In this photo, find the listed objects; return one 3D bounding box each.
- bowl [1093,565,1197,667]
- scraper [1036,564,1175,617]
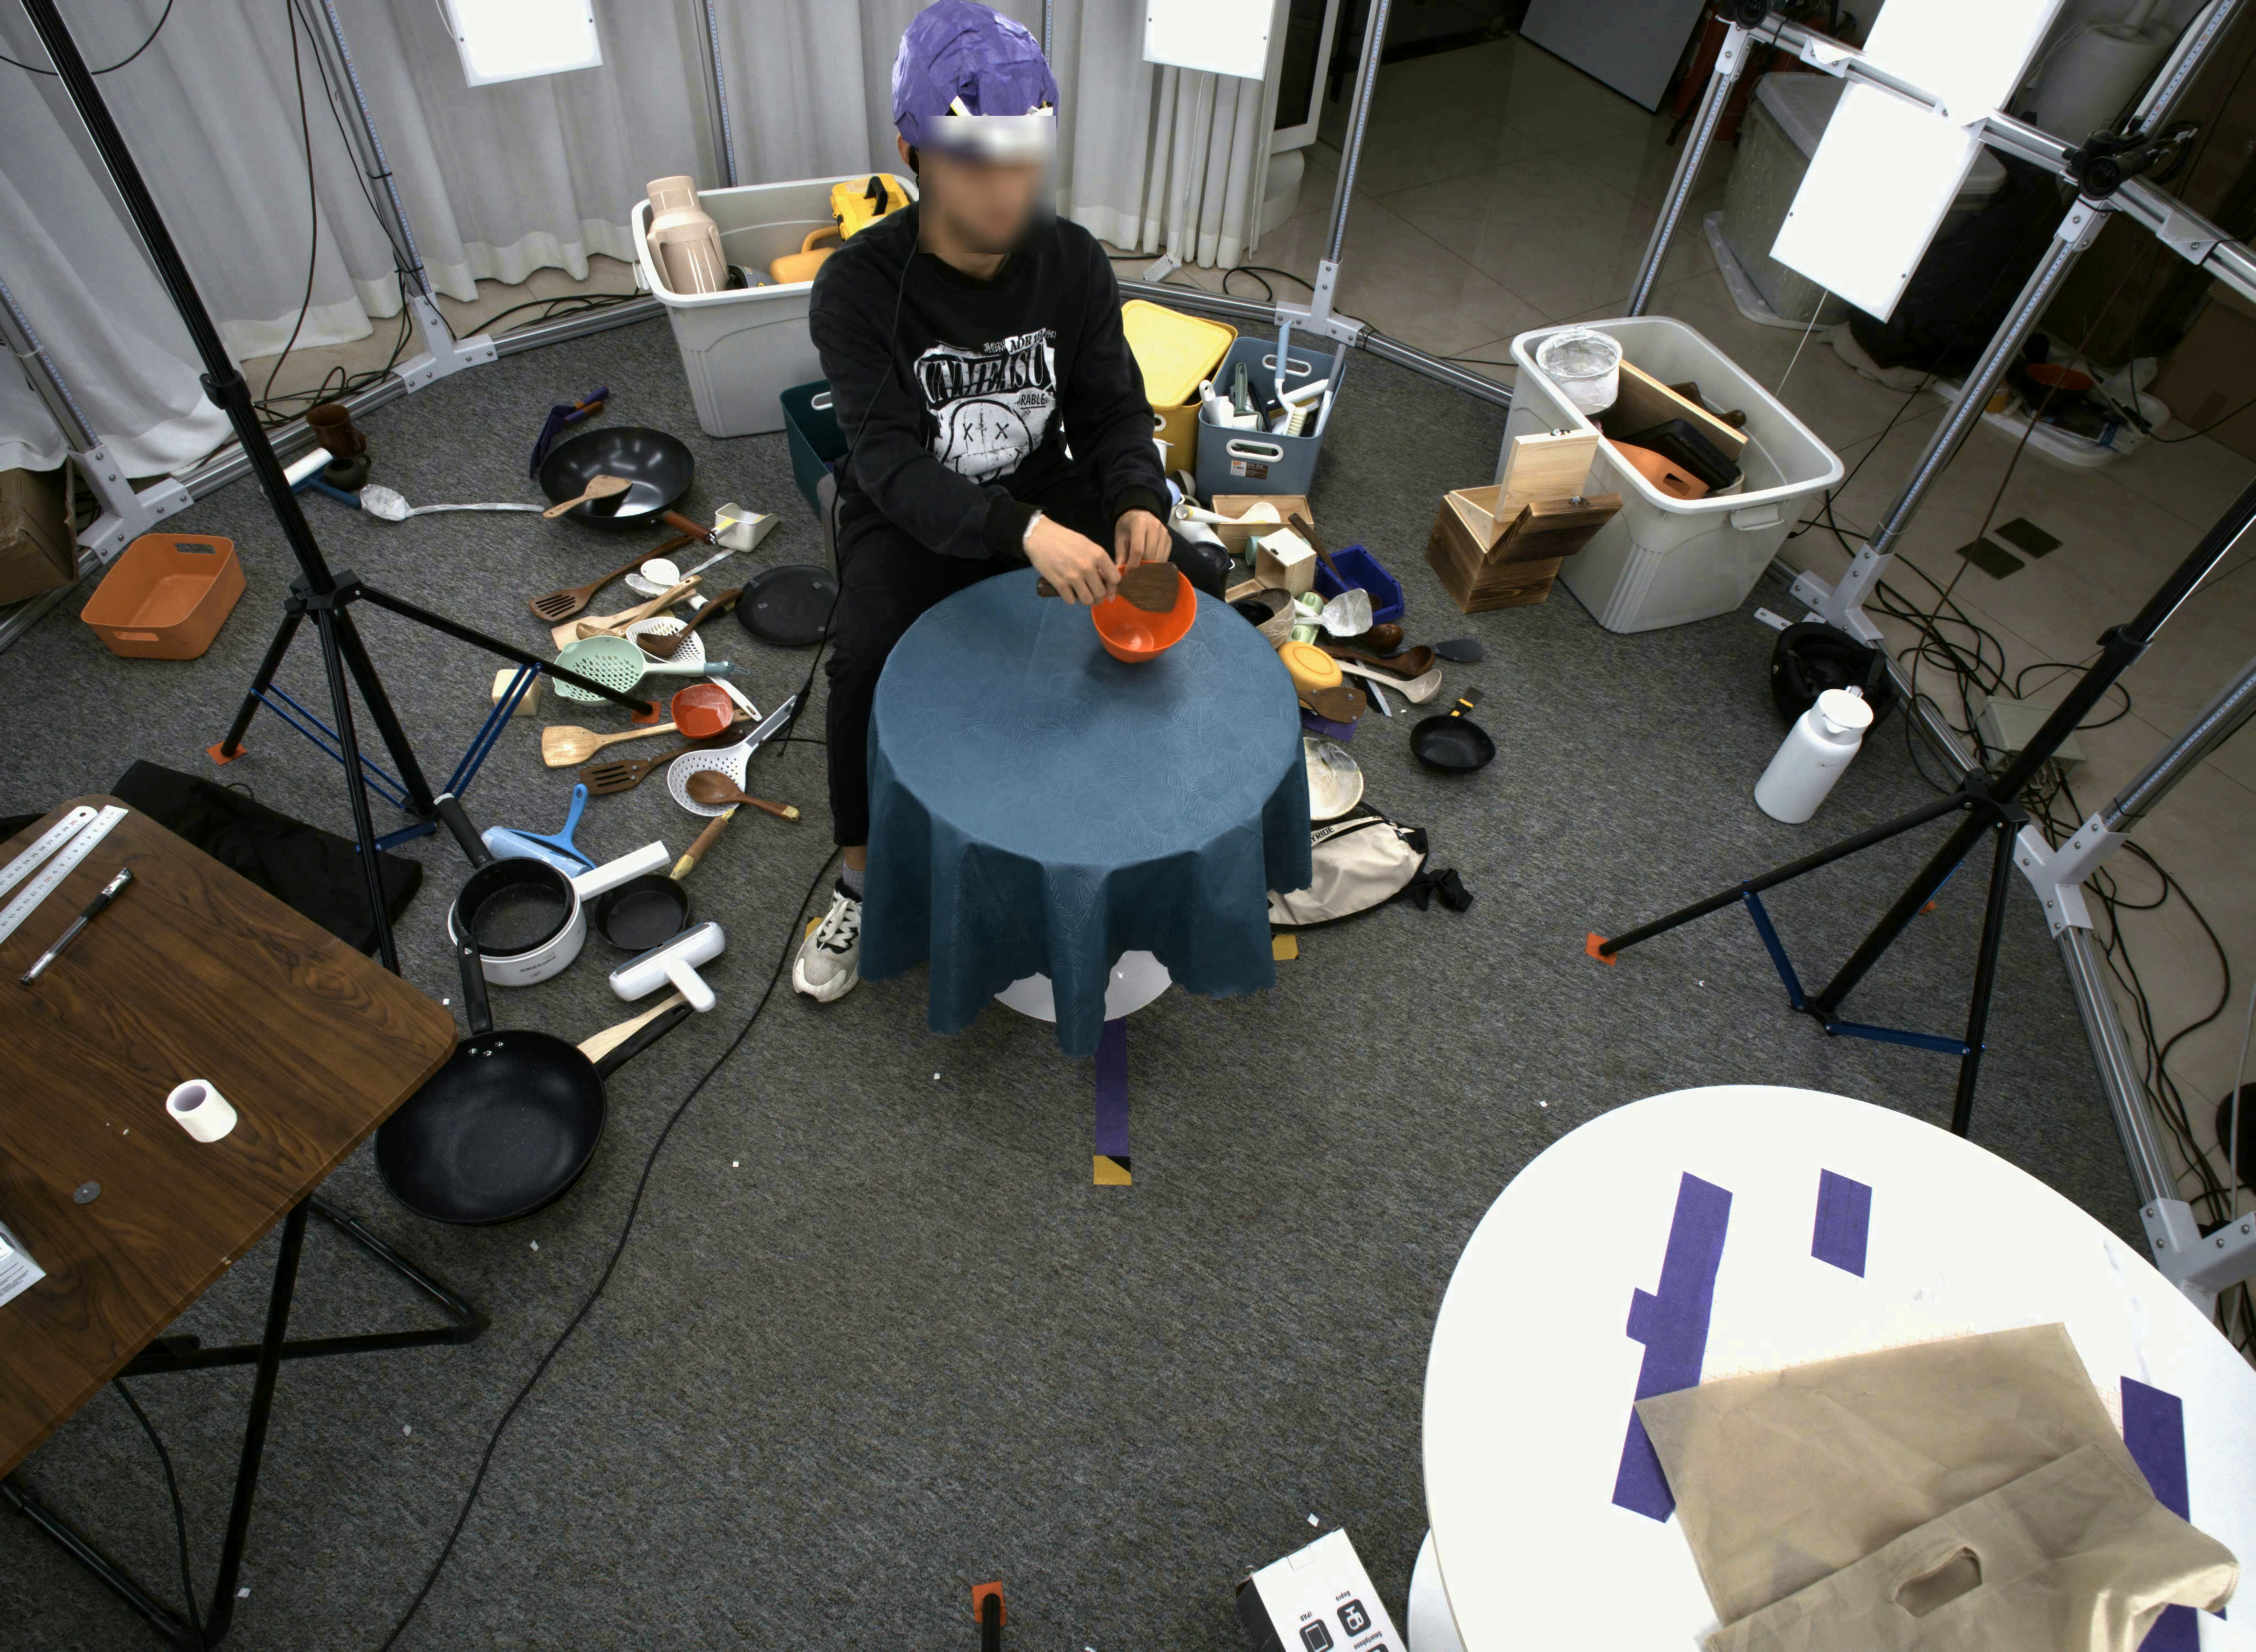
[{"bbox_3d":[0.020,-0.291,1.866,0.148,0.102,0.151,2,63,-5],"label":"bowl"},{"bbox_3d":[-0.030,-0.330,1.796,0.210,0.075,0.011,-4,20,-25],"label":"scraper"}]
